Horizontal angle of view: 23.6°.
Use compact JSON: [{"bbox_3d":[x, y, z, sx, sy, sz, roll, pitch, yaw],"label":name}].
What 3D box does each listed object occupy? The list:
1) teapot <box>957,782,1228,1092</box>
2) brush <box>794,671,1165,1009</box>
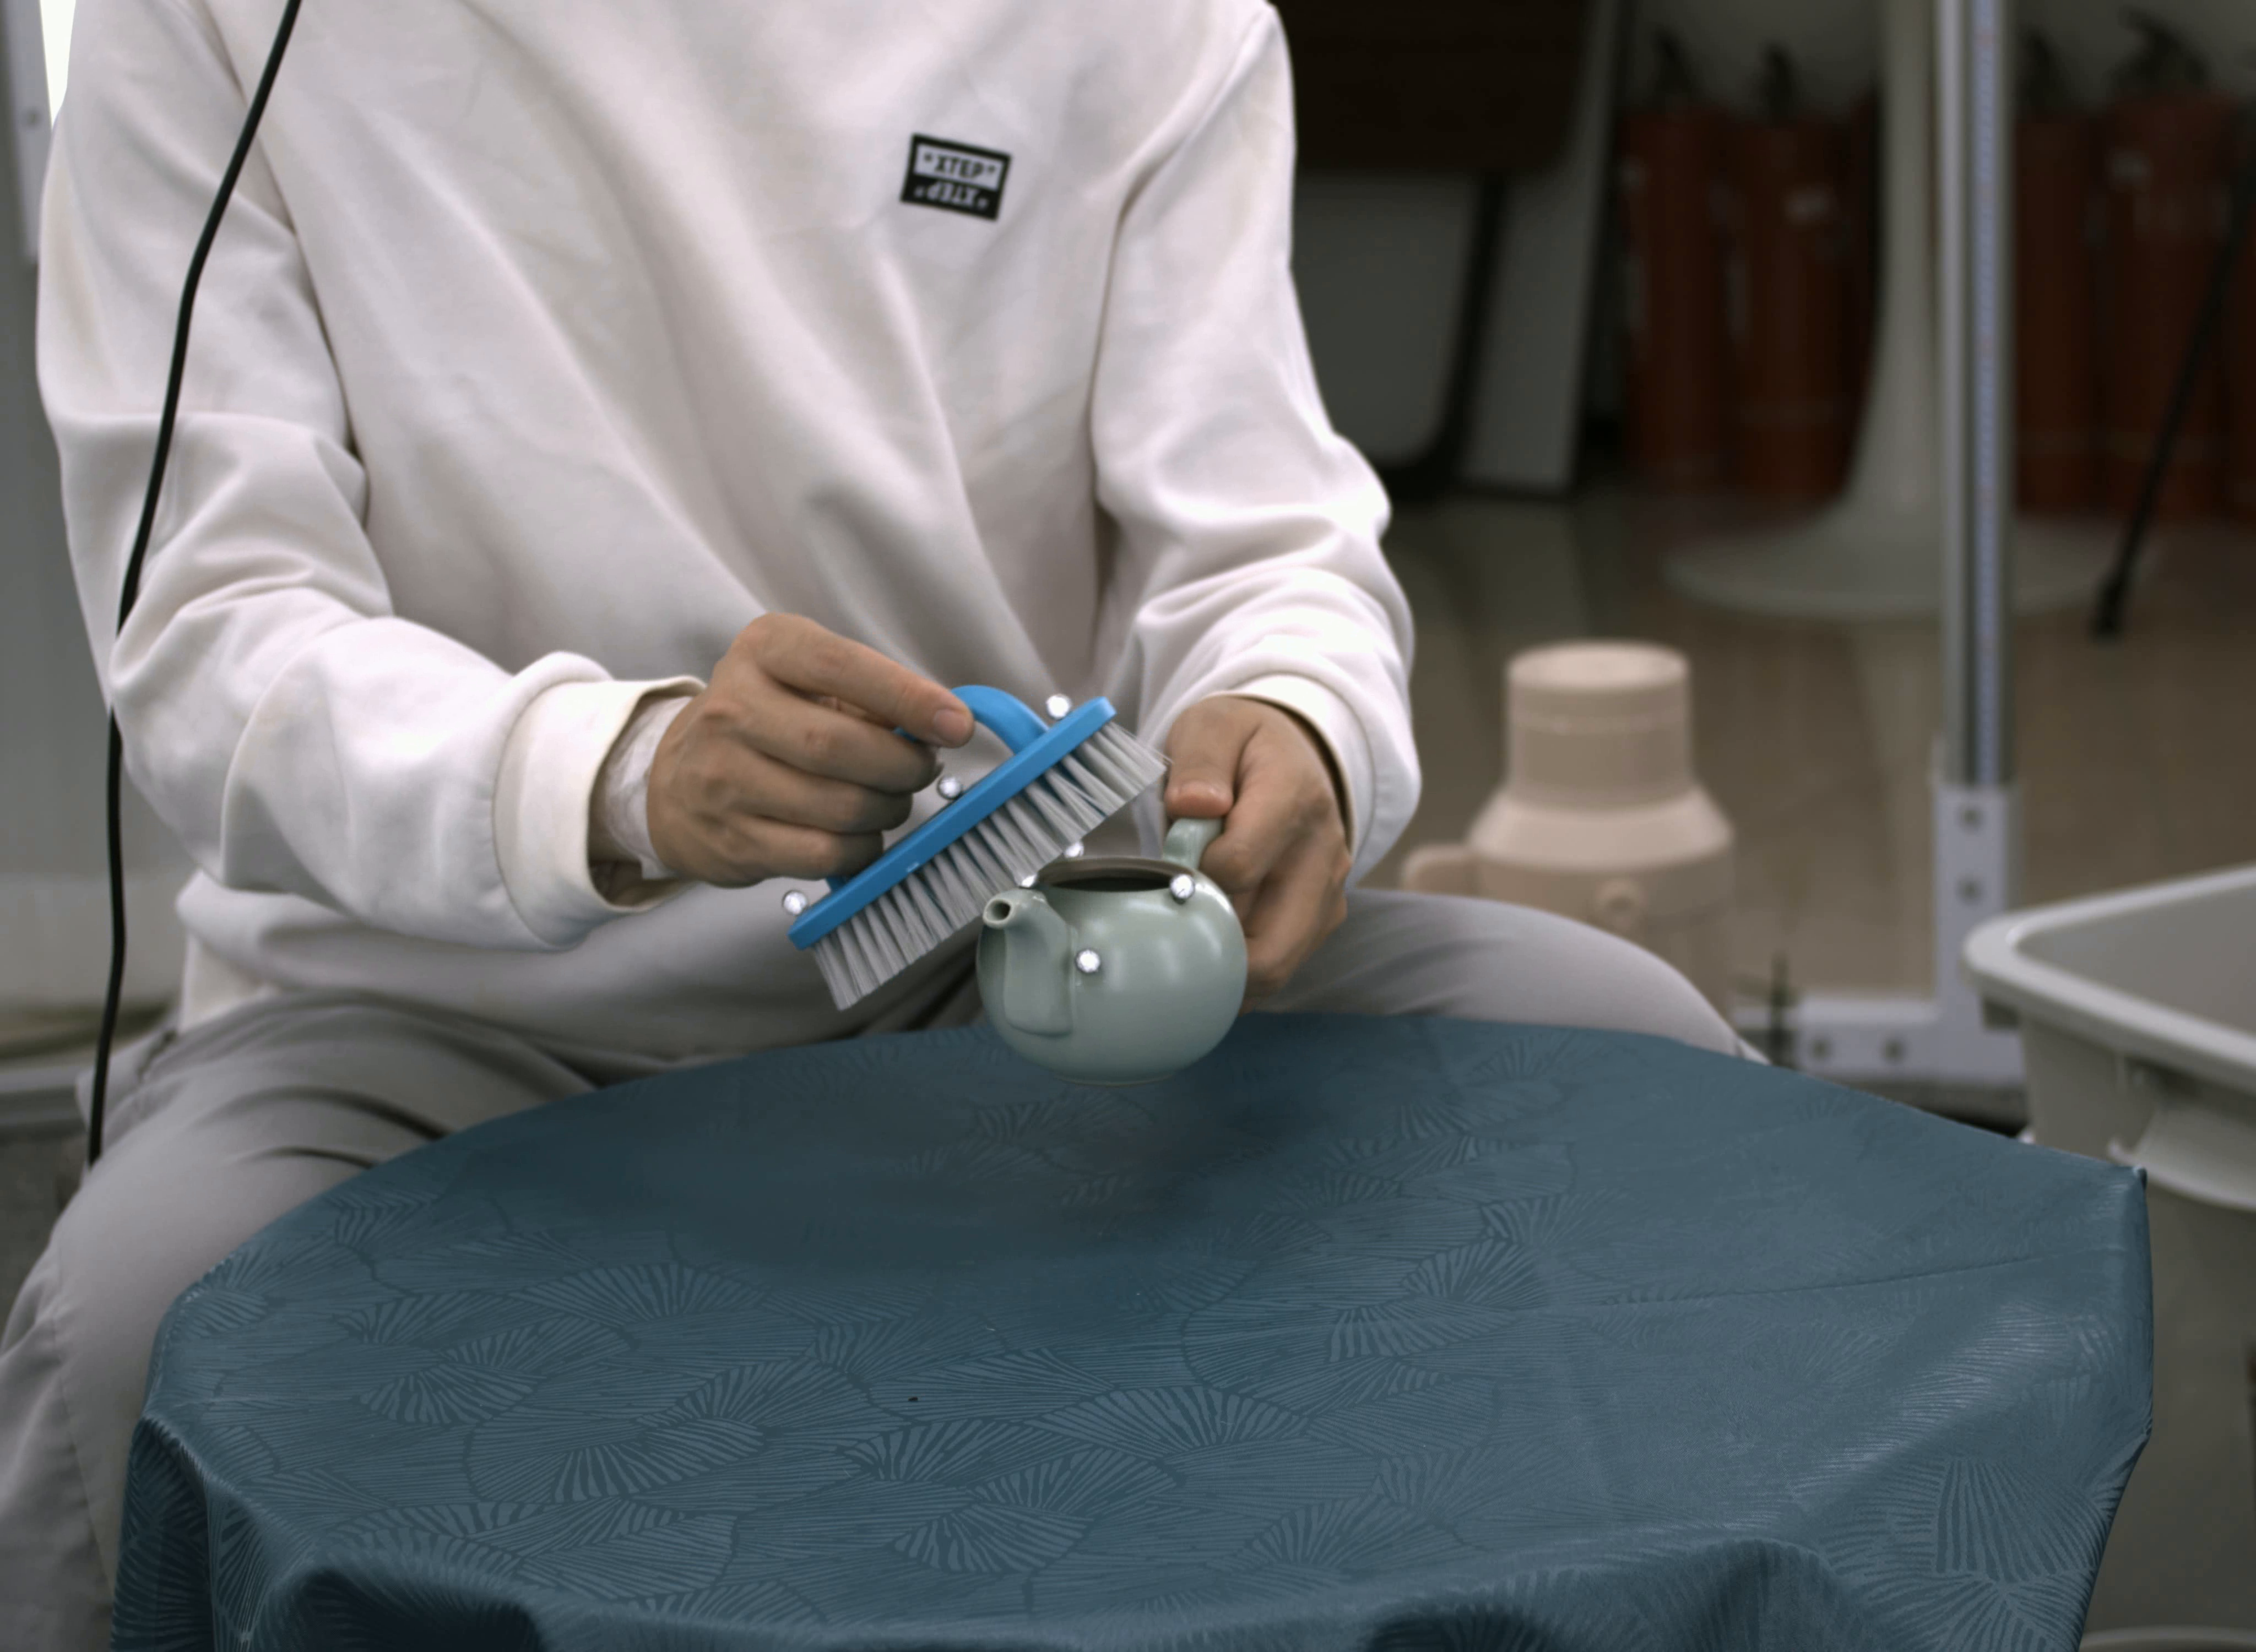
[{"bbox_3d":[-0.011,0.043,1.730,0.088,0.075,0.142,8,24,17],"label":"teapot"},{"bbox_3d":[-0.058,-0.005,1.731,0.143,0.064,0.083,-37,5,29],"label":"brush"}]
